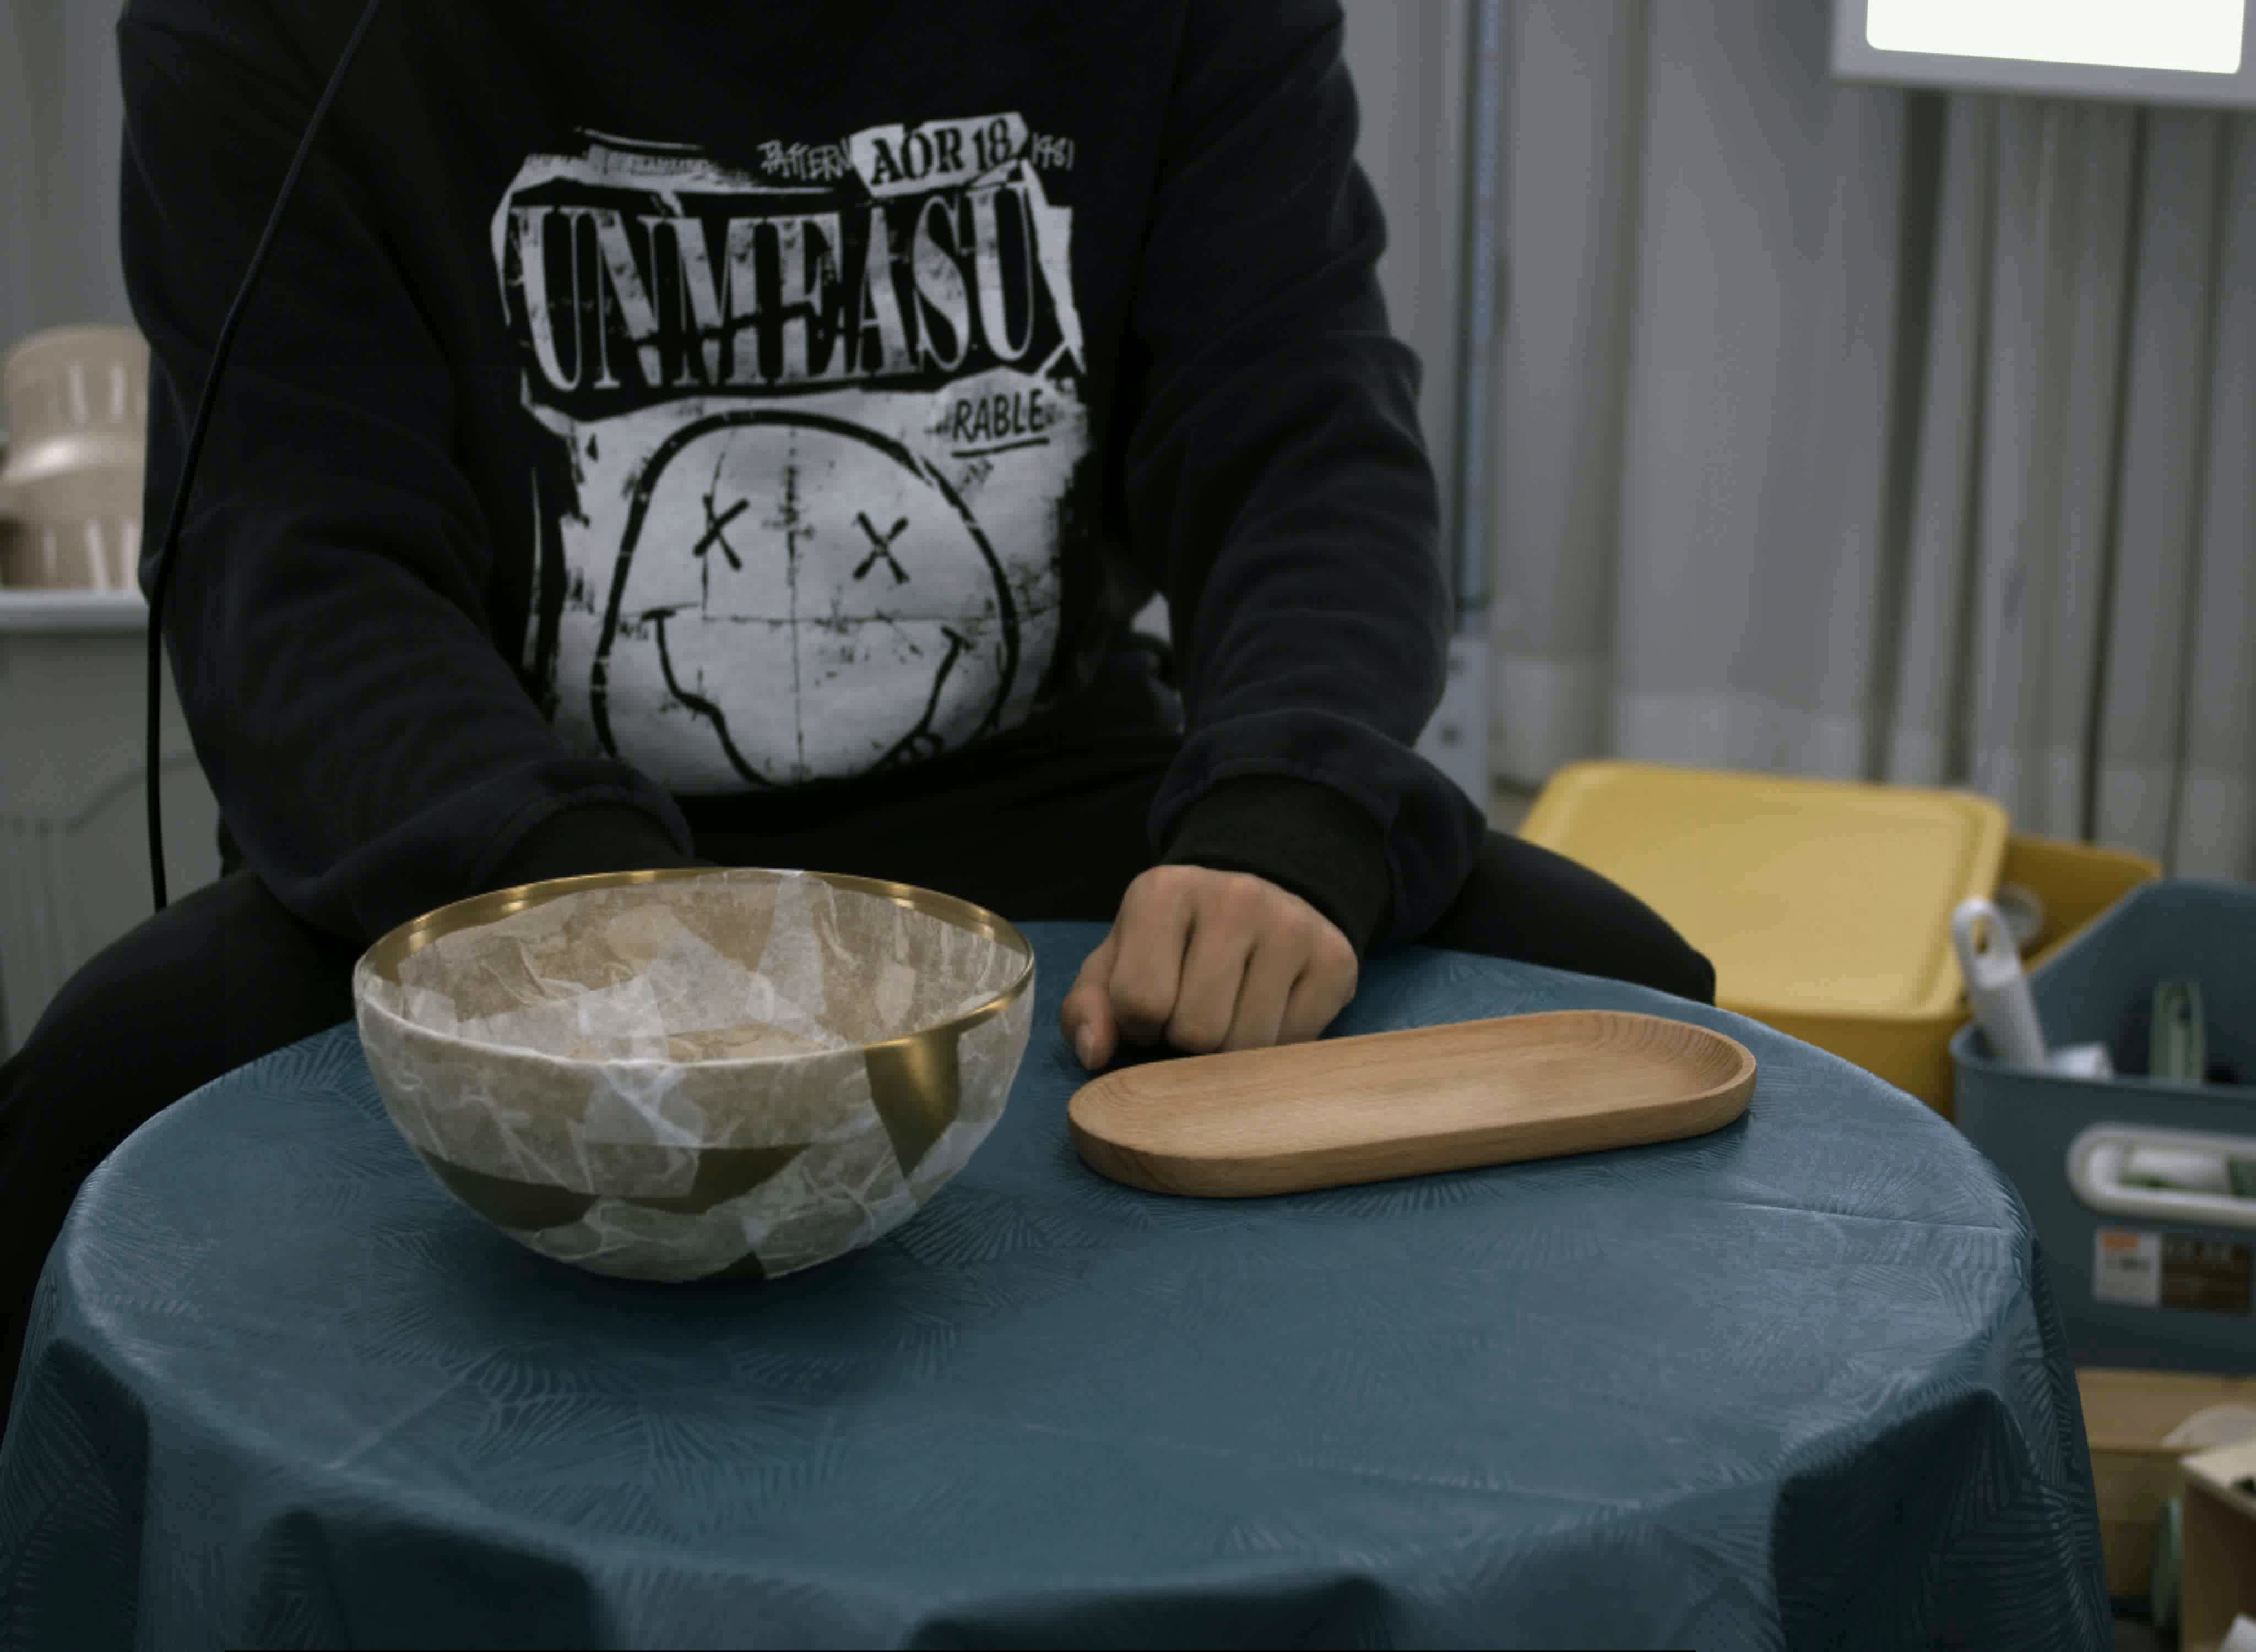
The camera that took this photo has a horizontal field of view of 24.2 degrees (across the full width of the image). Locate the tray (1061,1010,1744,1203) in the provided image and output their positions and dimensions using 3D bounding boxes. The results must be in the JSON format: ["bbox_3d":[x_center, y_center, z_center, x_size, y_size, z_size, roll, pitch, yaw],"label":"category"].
[{"bbox_3d":[0.089,0.089,1.684,0.232,0.020,0.100,-8,16,-23],"label":"tray"}]

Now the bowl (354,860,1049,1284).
[{"bbox_3d":[-0.123,0.080,1.564,0.214,0.095,0.213,0,16,1],"label":"bowl"}]
